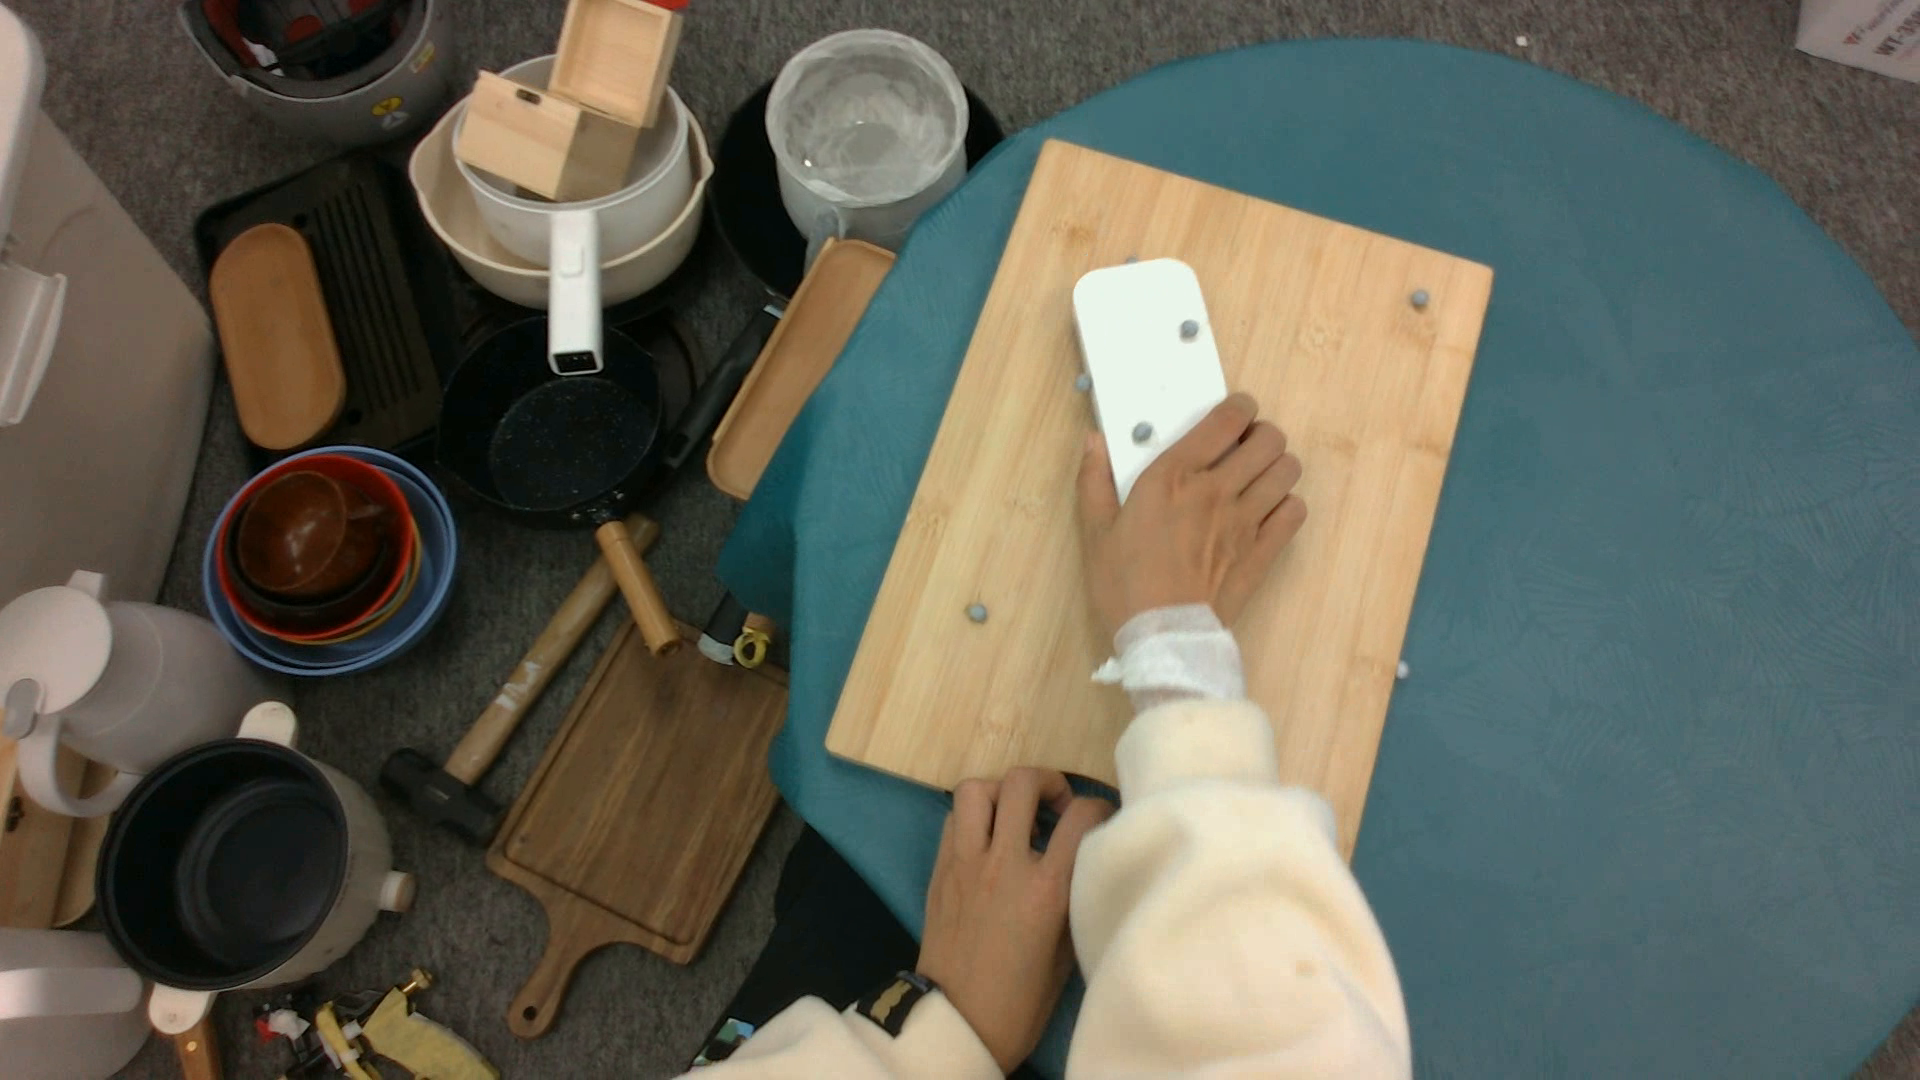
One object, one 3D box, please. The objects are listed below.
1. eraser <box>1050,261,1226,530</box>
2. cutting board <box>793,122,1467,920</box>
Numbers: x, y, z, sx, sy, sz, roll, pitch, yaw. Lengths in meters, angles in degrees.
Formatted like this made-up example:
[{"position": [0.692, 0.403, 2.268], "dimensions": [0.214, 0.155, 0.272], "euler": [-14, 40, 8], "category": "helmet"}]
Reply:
[{"position": [0.082, -0.070, 0.656], "dimensions": [0.063, 0.034, 0.131], "euler": [-10, 73, -6], "category": "eraser"}, {"position": [0.093, -0.023, 0.669], "dimensions": [0.250, 0.023, 0.349], "euler": [17, 73, 2], "category": "cutting board"}]
